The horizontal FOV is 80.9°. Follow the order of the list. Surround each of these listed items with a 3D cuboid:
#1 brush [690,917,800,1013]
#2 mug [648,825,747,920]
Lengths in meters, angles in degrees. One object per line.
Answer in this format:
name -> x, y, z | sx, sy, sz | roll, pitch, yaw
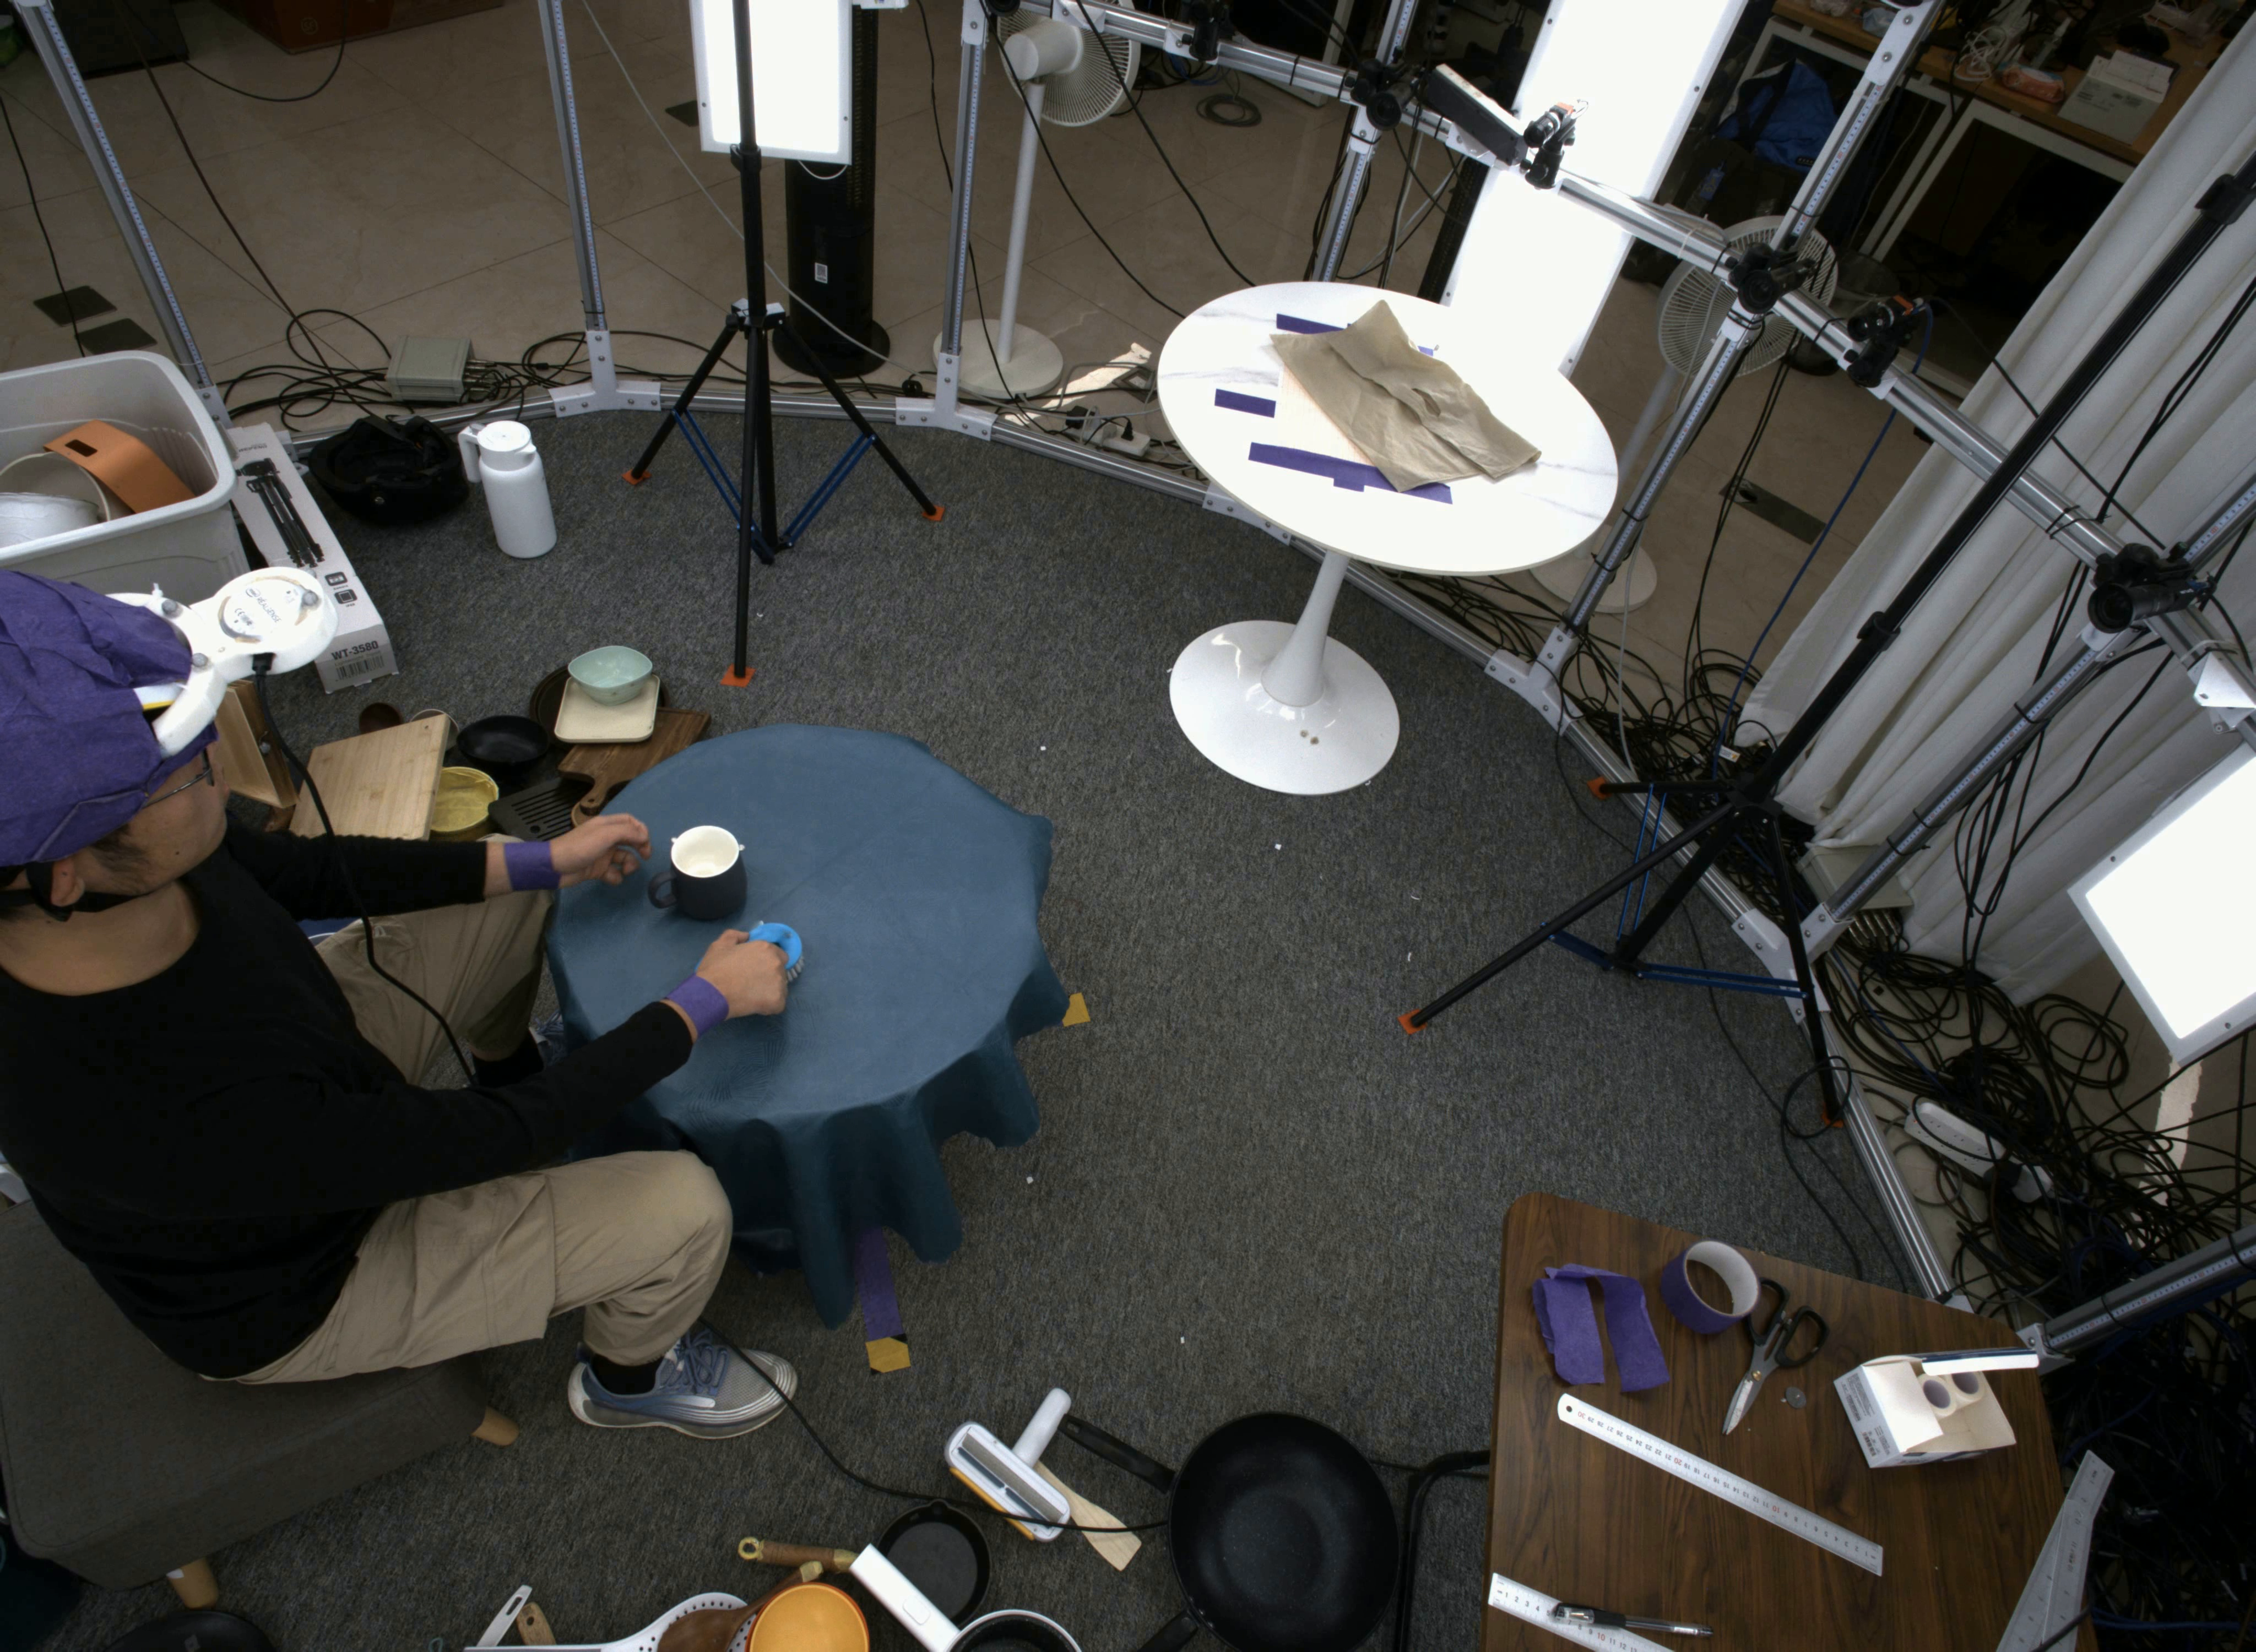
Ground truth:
brush -> -0.459, 0.159, 1.558 | 0.142, 0.065, 0.083 | -31, 70, -30
mug -> -0.534, 0.060, 1.594 | 0.124, 0.092, 0.091 | -22, 60, -29
